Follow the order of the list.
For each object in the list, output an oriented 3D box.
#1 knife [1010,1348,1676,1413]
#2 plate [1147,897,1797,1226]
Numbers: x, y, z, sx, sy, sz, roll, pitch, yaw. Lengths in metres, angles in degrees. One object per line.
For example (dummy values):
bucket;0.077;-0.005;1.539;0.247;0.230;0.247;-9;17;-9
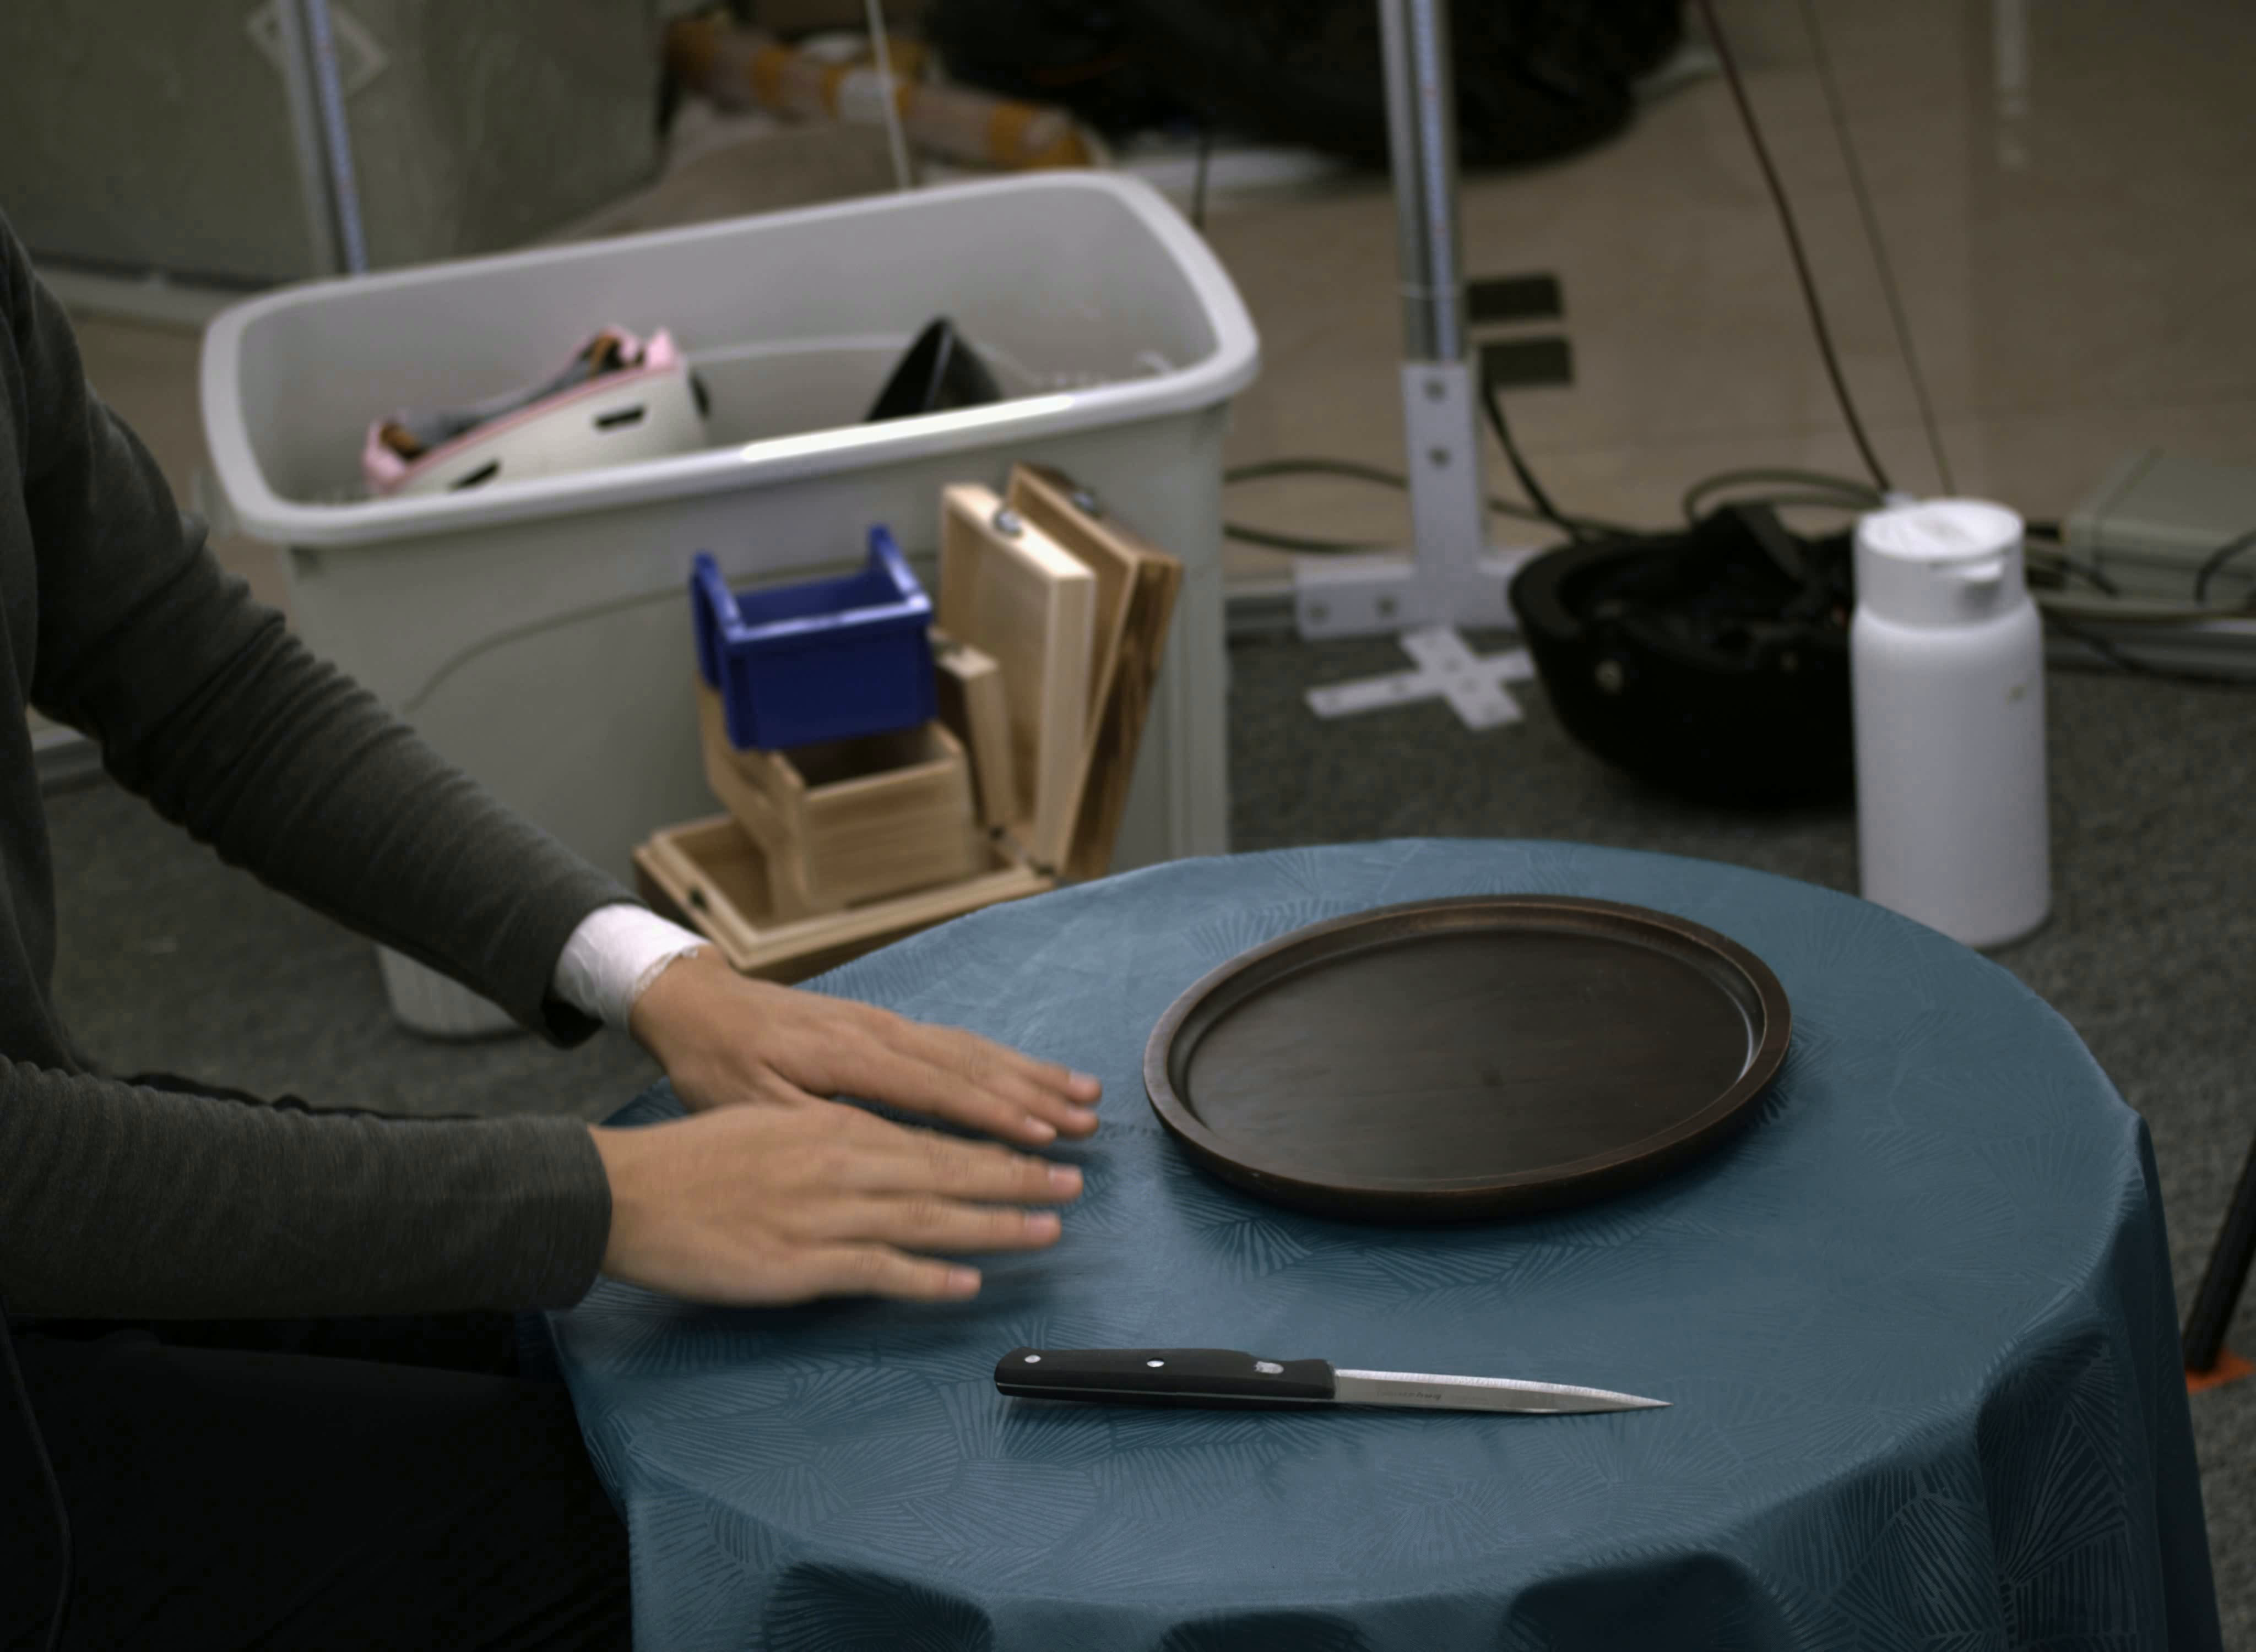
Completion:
knife;0.073;0.197;1.994;0.237;0.016;0.024;1;26;11
plate;0.133;0.090;2.198;0.254;0.029;0.251;-5;24;2
